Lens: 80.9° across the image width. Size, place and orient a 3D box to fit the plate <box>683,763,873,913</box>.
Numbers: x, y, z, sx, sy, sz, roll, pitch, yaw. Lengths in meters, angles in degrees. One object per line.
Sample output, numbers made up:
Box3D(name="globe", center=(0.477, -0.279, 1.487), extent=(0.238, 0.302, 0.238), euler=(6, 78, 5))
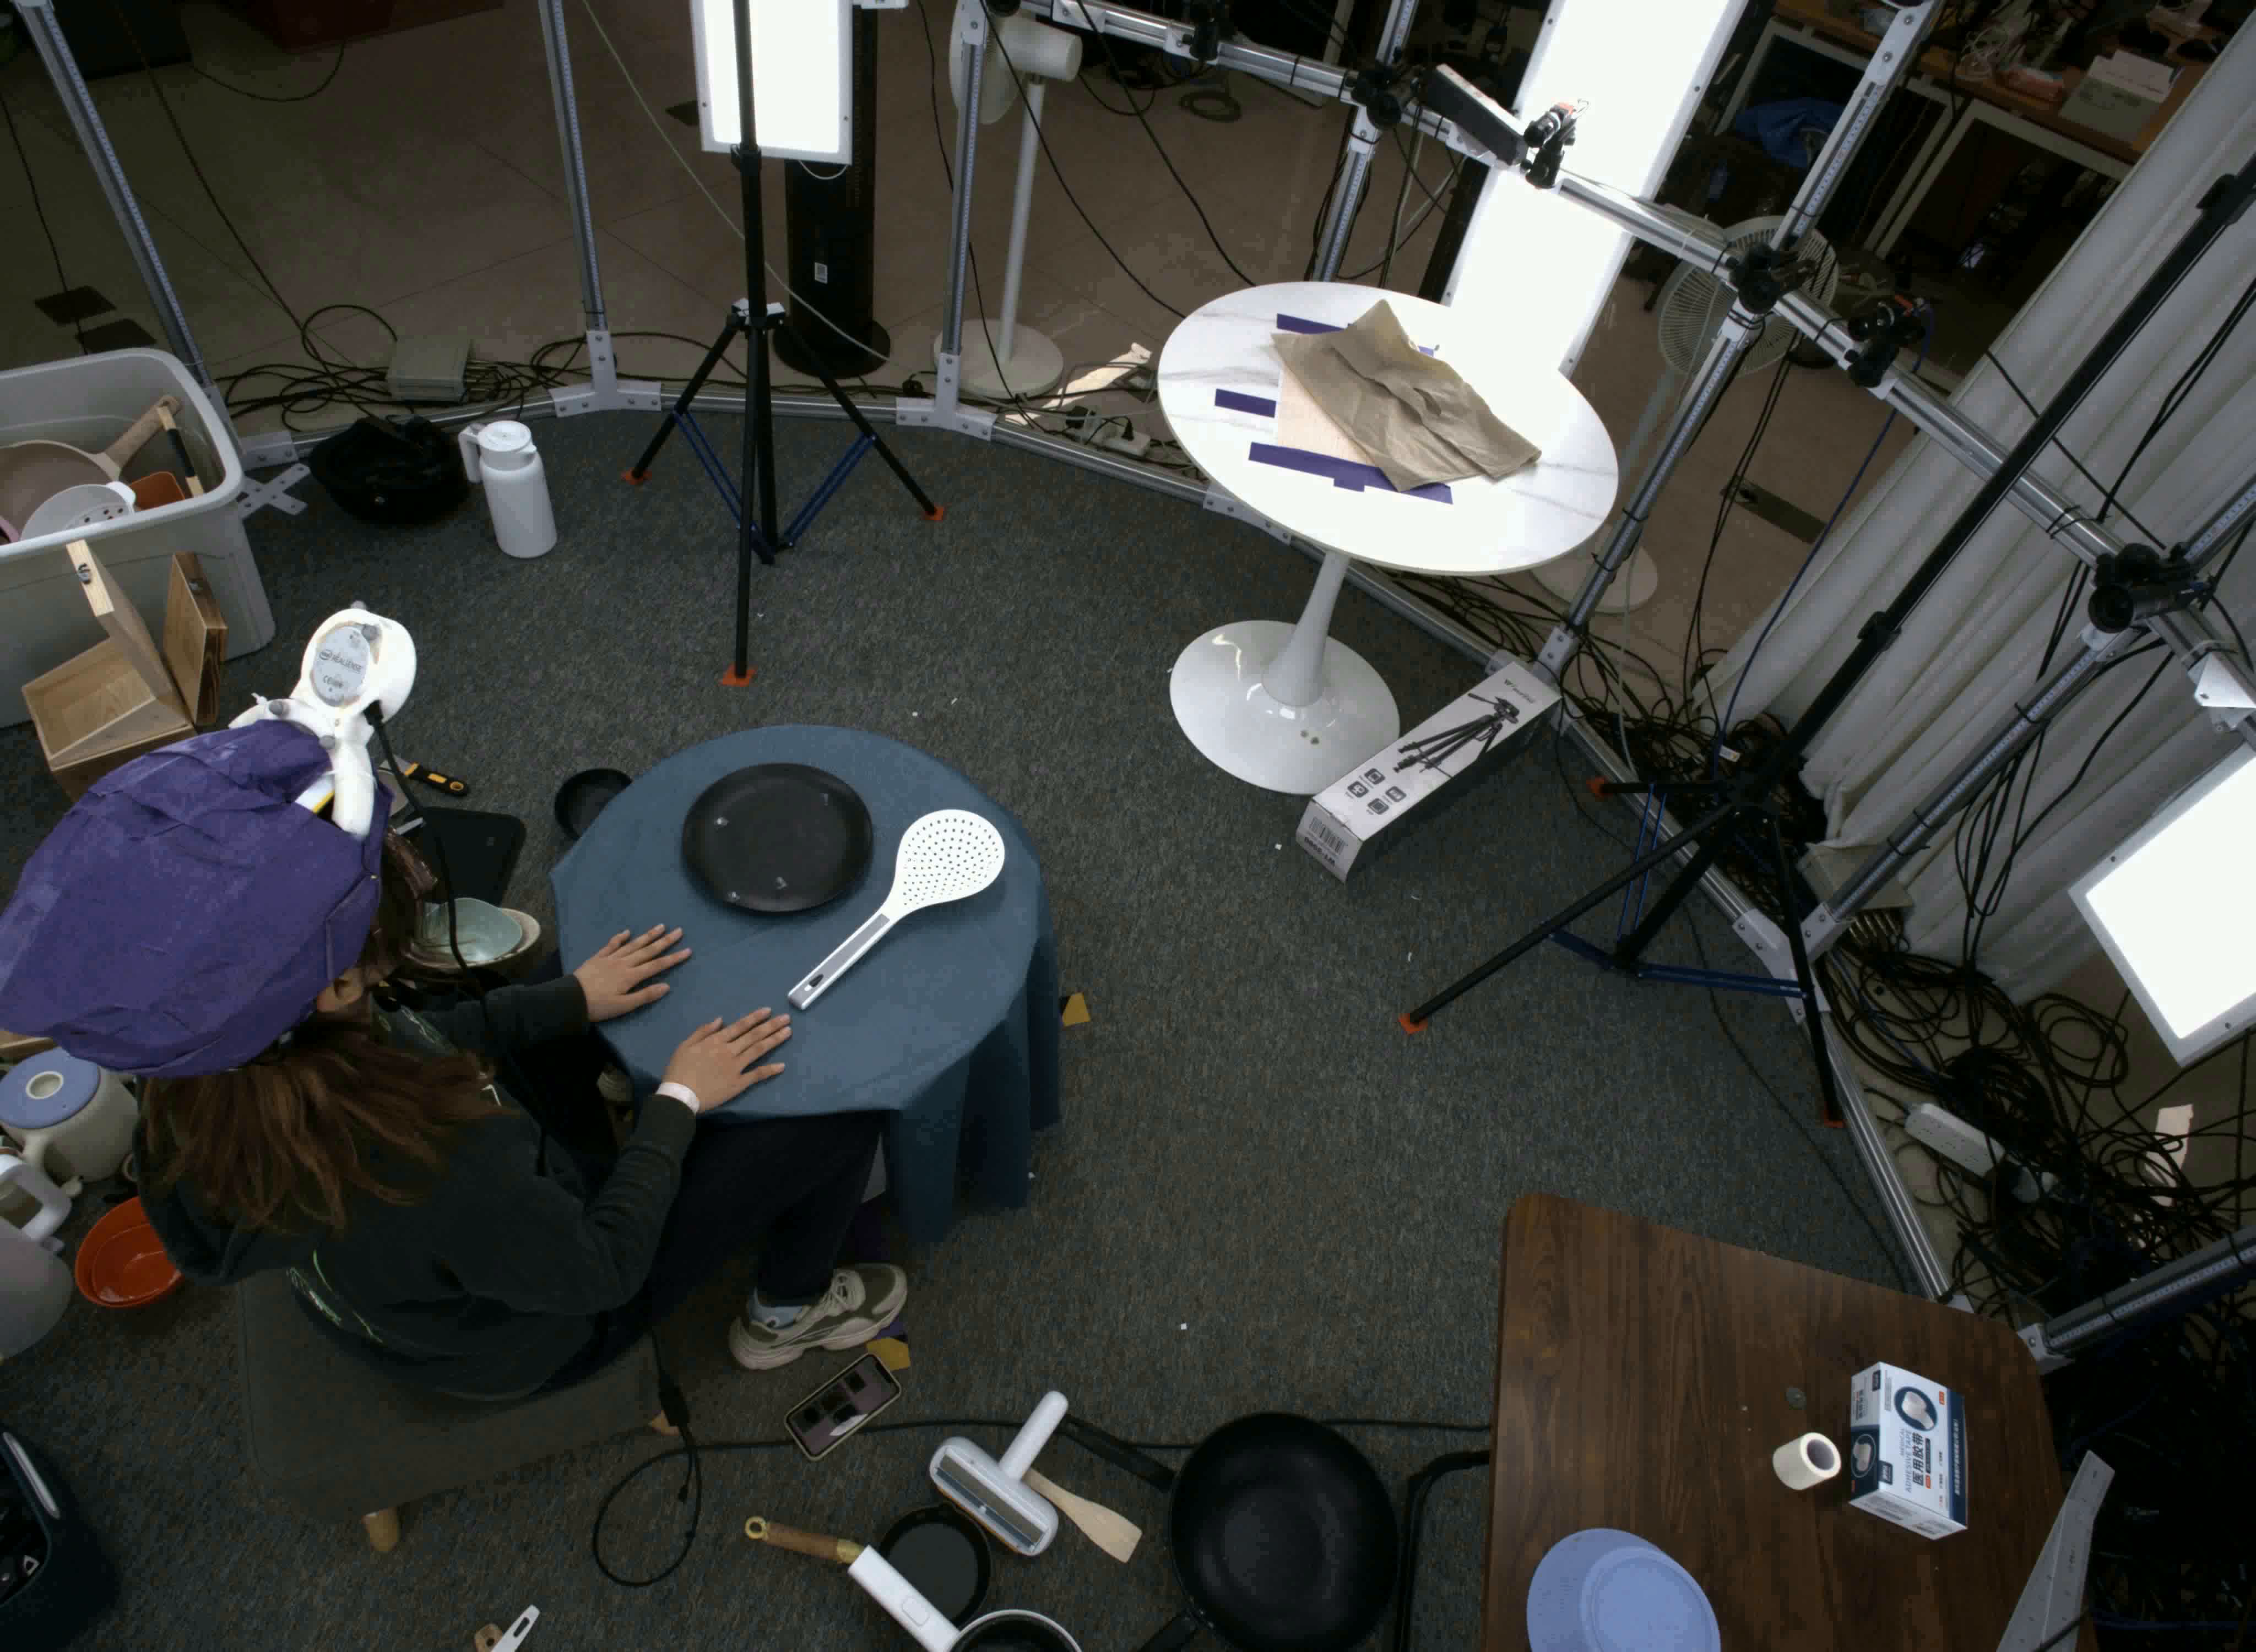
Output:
Box3D(name="plate", center=(-0.456, 0.016, 1.694), extent=(0.244, 0.024, 0.240), euler=(8, 52, -9))

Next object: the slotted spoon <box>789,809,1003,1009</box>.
Box3D(name="slotted spoon", center=(-0.296, 0.104, 1.655), extent=(0.133, 0.047, 0.349), euler=(35, 54, 15))
